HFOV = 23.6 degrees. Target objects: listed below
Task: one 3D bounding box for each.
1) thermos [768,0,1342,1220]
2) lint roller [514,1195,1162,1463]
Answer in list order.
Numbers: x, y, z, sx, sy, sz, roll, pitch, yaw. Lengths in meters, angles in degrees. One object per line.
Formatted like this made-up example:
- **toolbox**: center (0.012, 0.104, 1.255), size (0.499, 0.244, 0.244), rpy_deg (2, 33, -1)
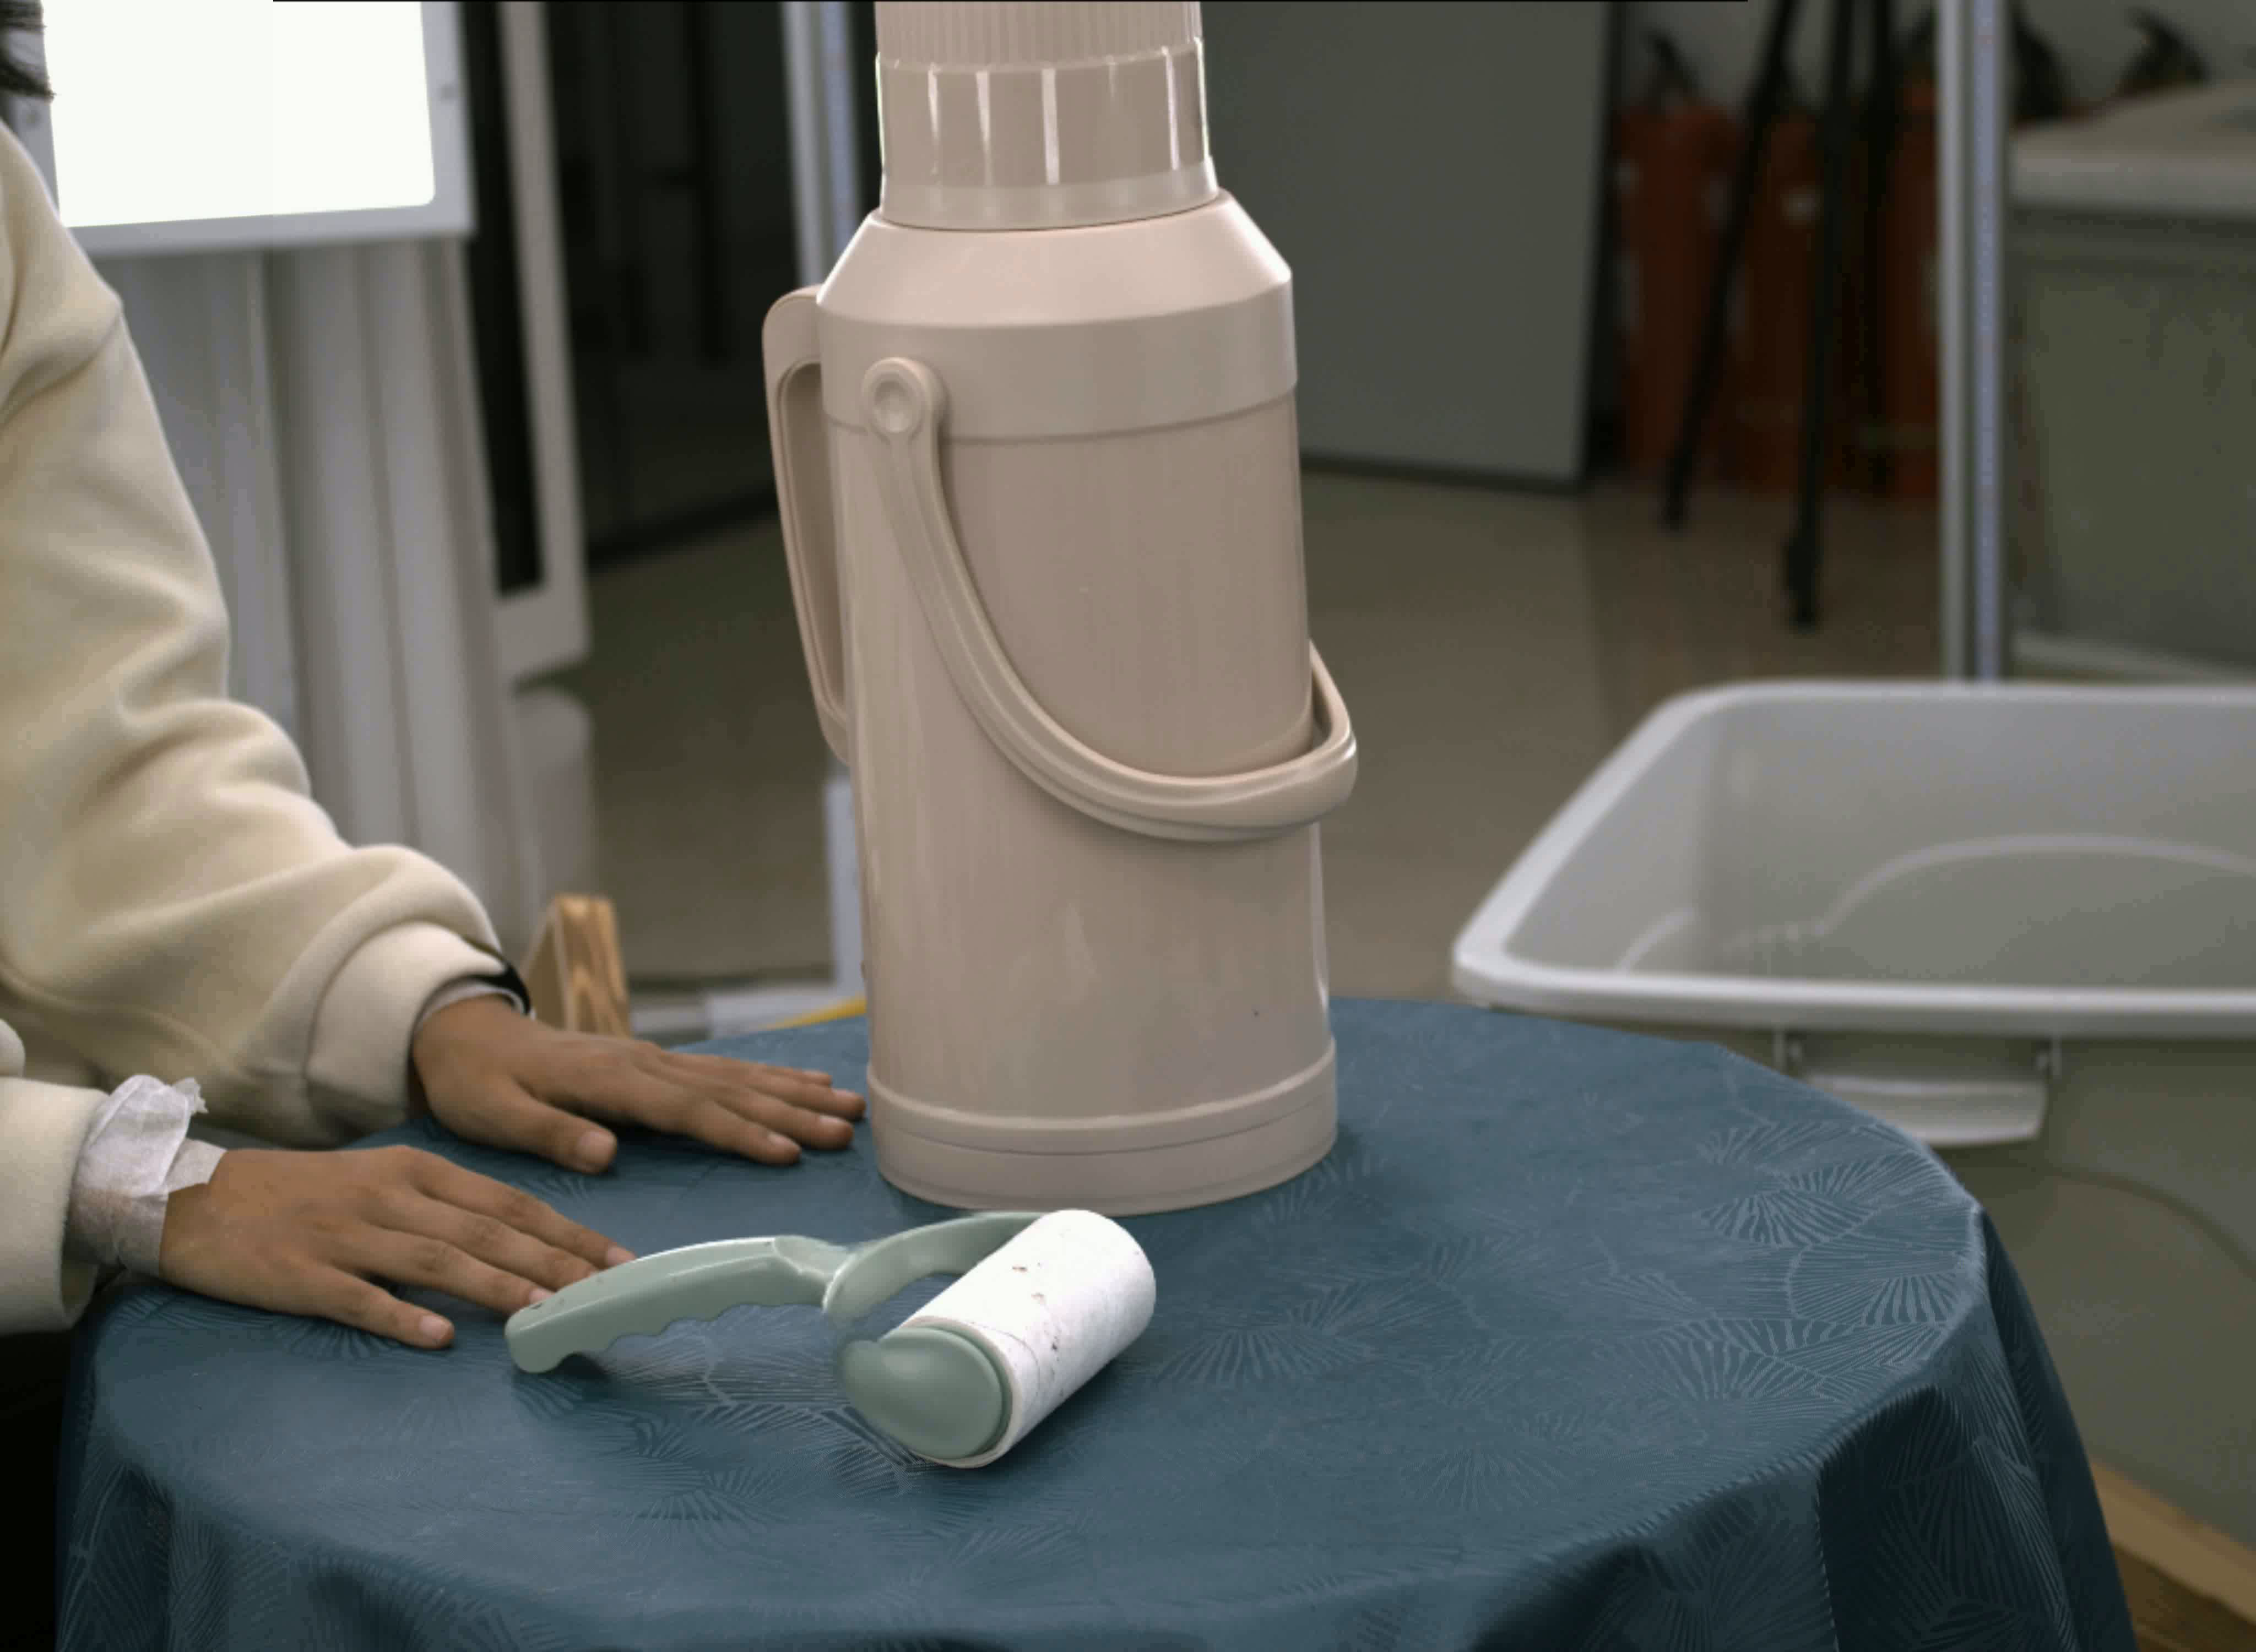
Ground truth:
- **thermos**: center (-0.029, -0.086, 1.783), size (0.208, 0.411, 0.172), rpy_deg (6, 17, 37)
- **lint roller**: center (-0.095, 0.143, 1.609), size (0.198, 0.049, 0.115), rpy_deg (3, 18, 25)
